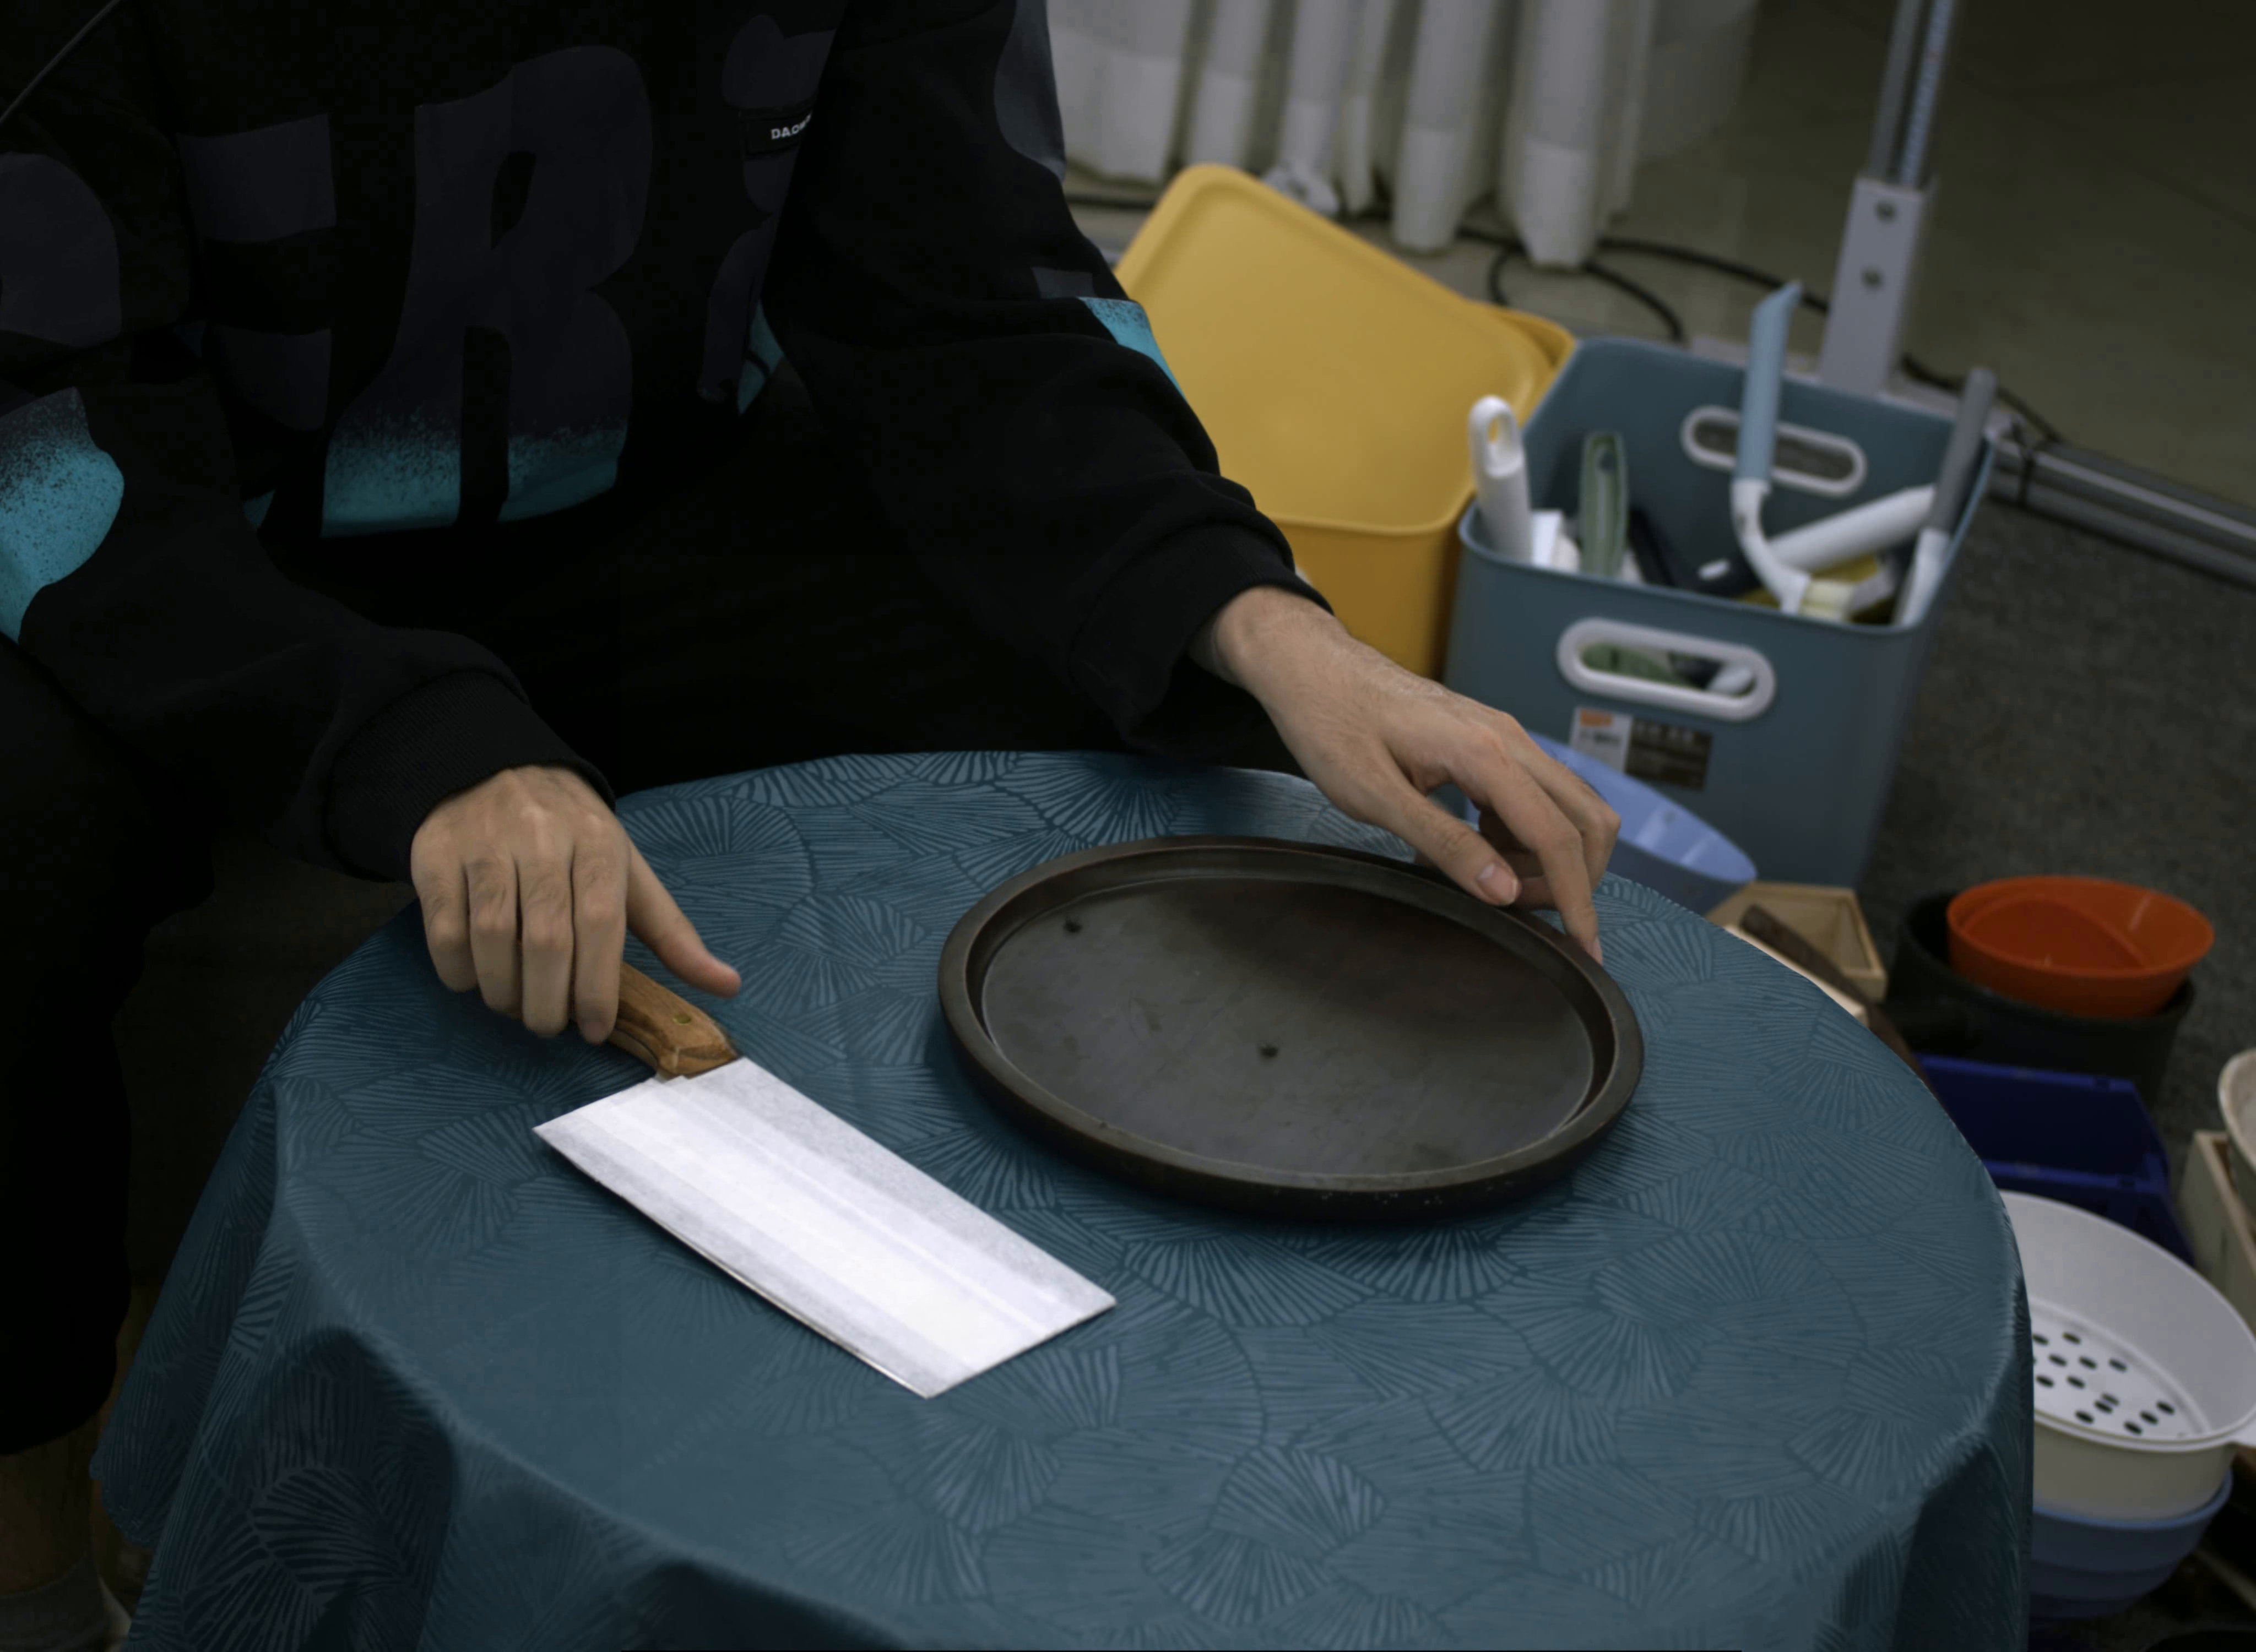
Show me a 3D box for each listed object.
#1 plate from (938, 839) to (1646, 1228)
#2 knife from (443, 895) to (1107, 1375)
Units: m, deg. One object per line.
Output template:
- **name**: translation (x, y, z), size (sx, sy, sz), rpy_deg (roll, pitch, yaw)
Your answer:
- **plate**: translation (0.057, 0.071, 1.890), size (0.254, 0.029, 0.256), rpy_deg (4, 29, -3)
- **knife**: translation (-0.142, 0.104, 1.792), size (0.308, 0.021, 0.092), rpy_deg (30, 37, 34)
